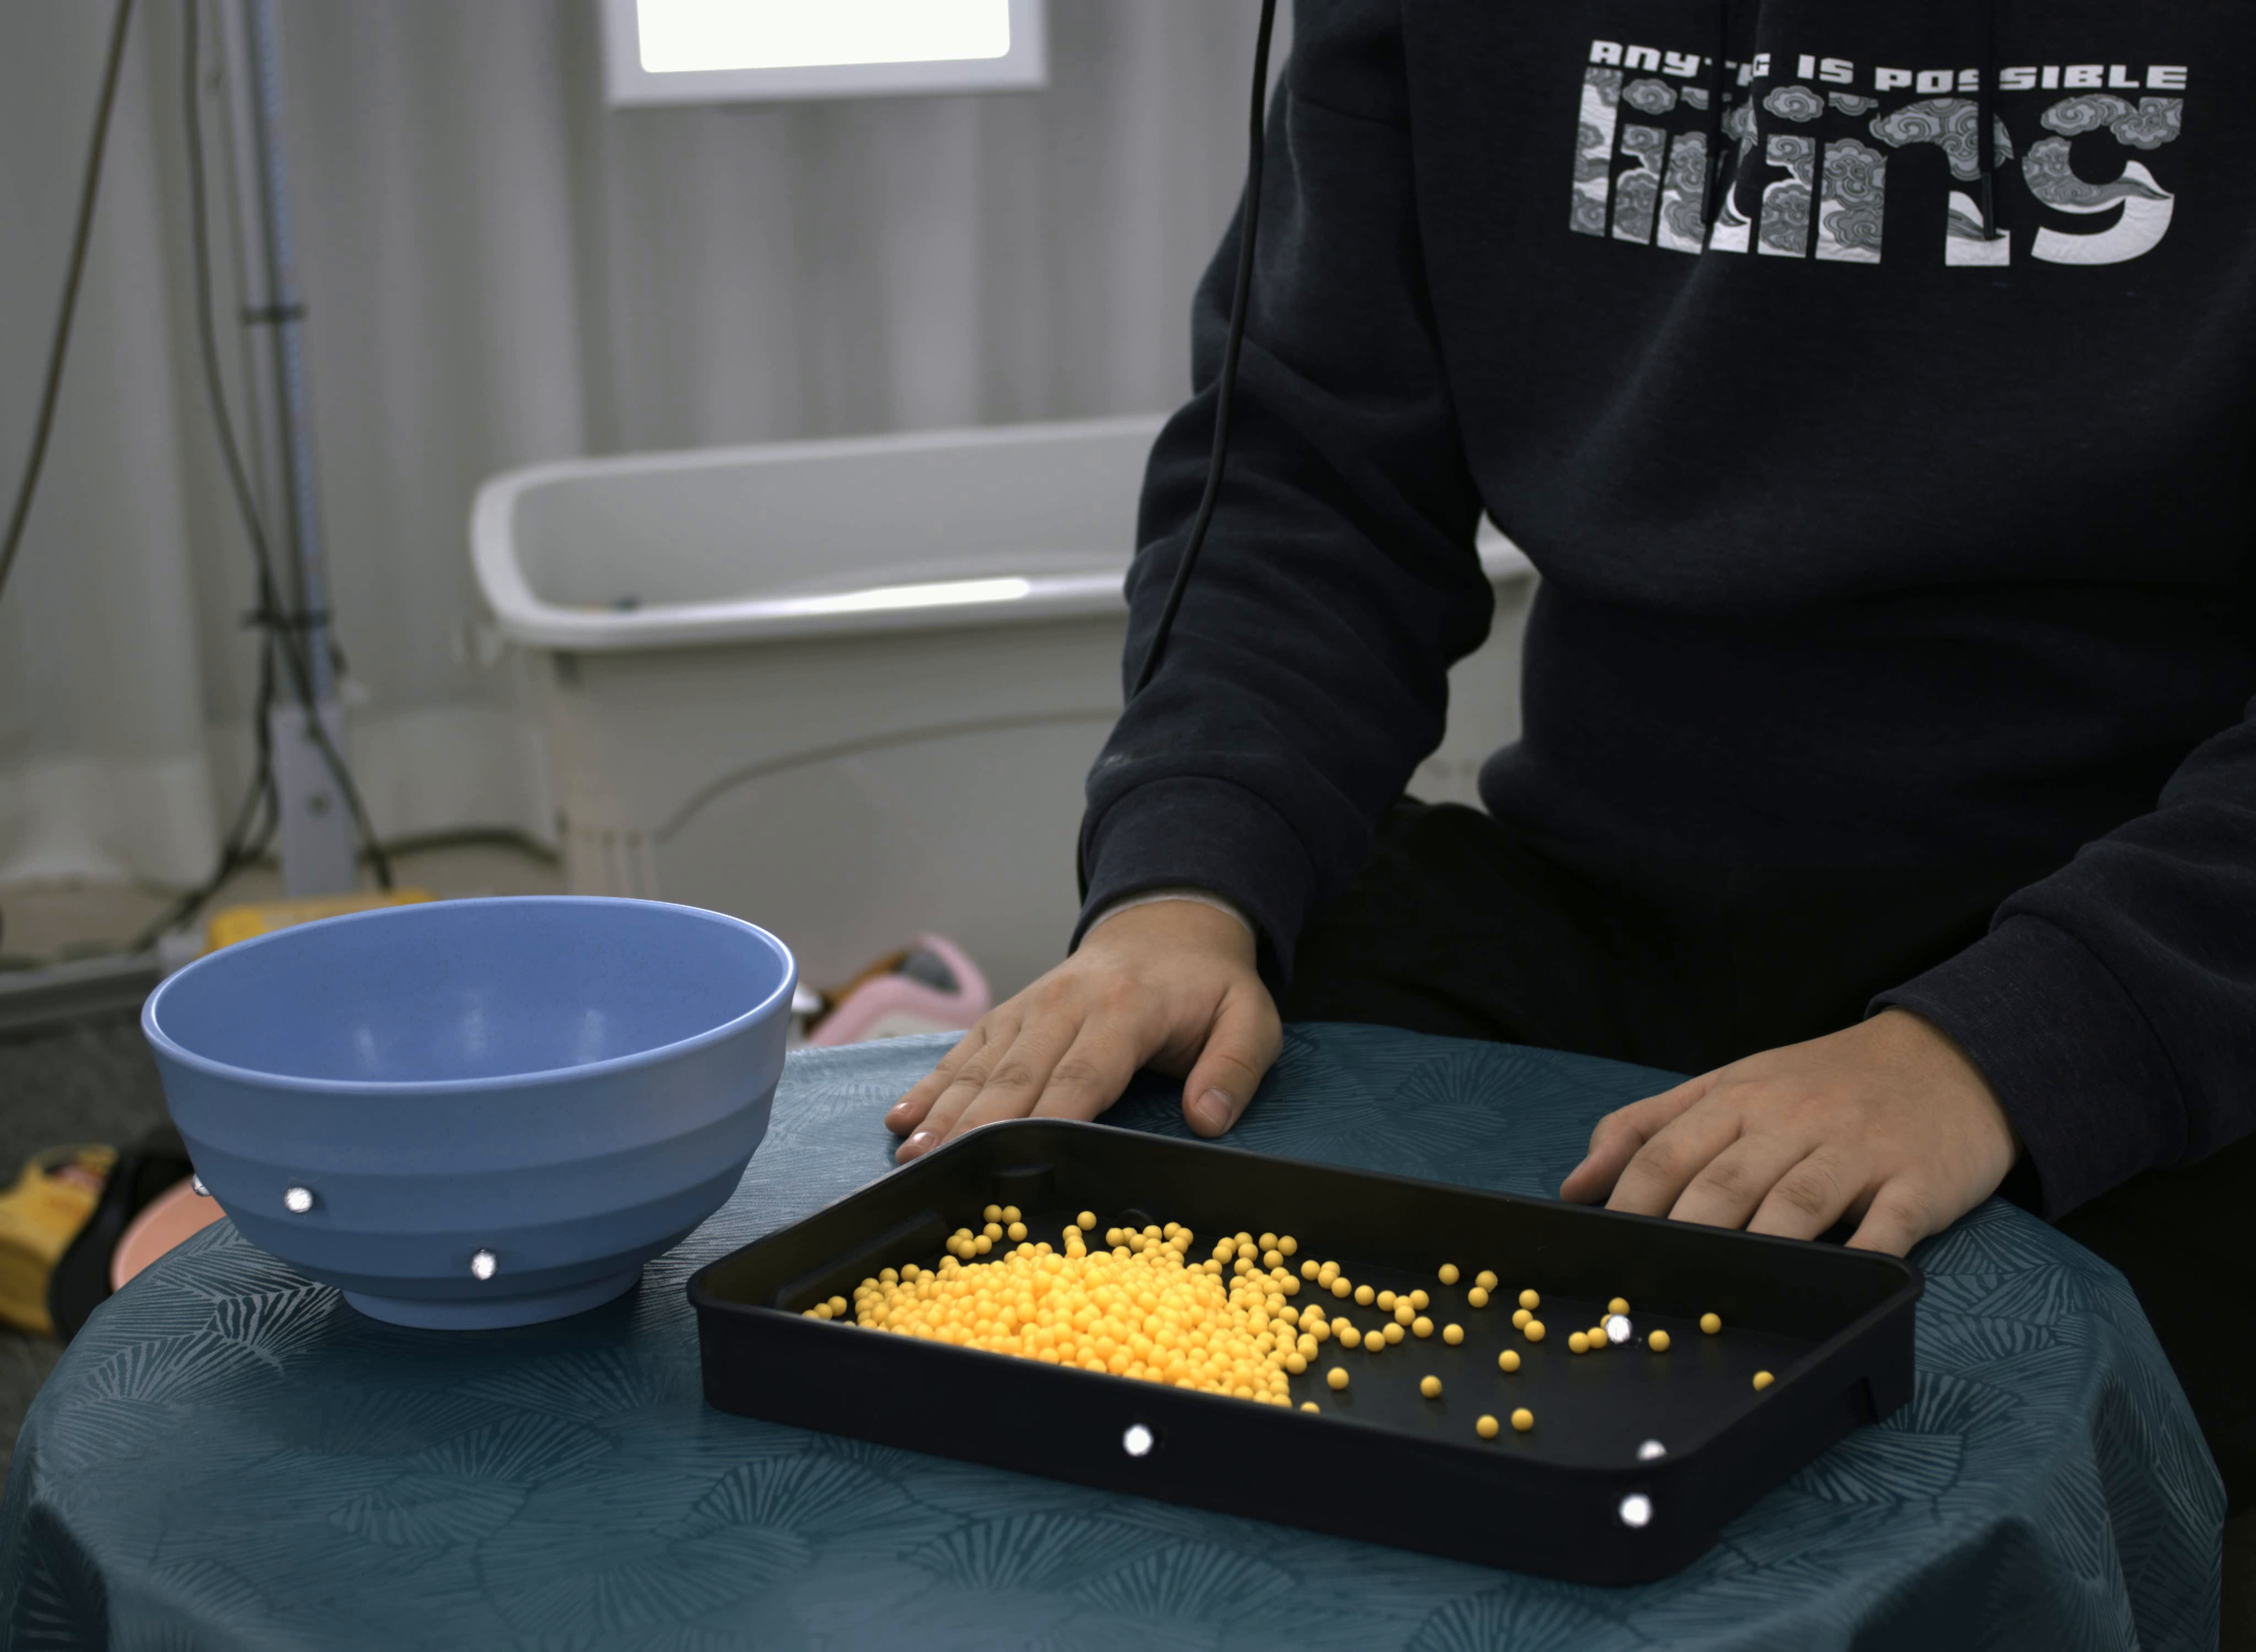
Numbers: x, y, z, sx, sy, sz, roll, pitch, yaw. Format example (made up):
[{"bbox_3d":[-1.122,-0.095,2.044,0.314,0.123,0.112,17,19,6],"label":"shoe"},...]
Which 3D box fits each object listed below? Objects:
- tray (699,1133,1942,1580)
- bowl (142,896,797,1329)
[{"bbox_3d":[0.053,0.144,1.534,0.319,0.037,0.184,5,16,31],"label":"tray"},{"bbox_3d":[-0.194,0.092,1.651,0.196,0.095,0.198,-4,14,1],"label":"bowl"}]
